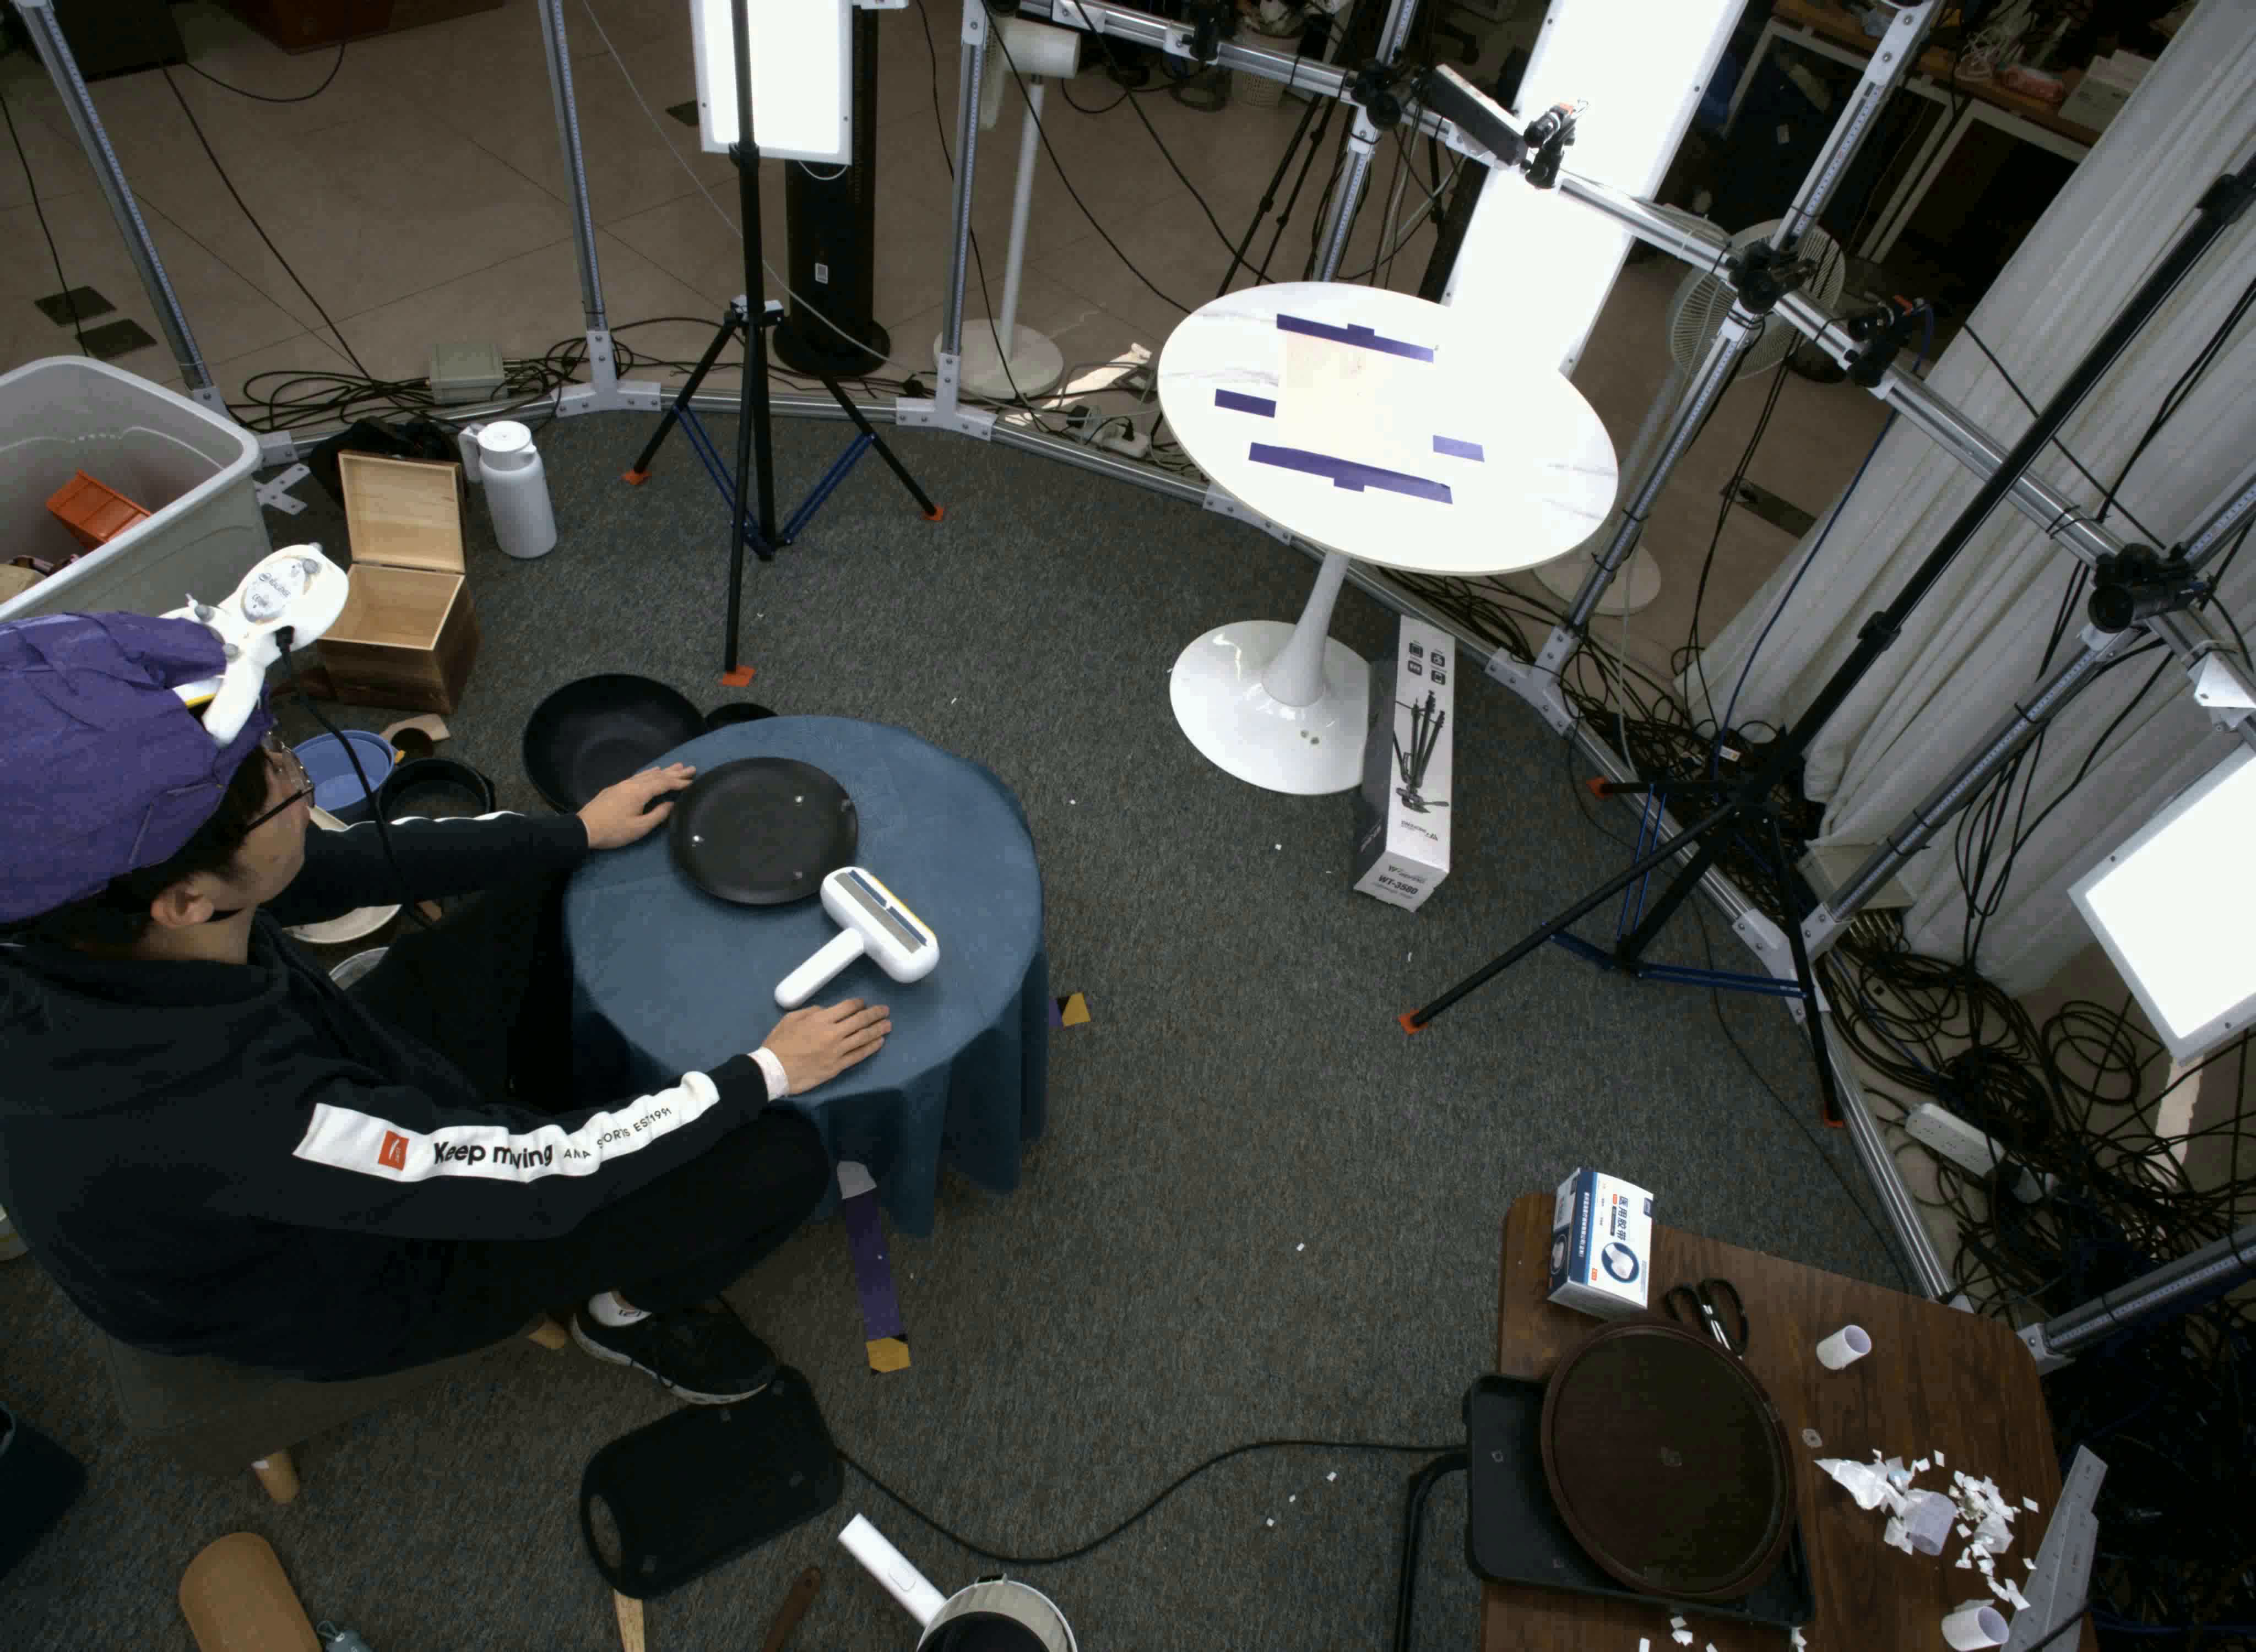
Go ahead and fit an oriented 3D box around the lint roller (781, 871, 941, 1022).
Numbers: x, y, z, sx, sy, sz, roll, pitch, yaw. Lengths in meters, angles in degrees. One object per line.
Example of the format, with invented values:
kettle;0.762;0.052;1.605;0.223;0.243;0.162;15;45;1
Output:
lint roller;-0.350;0.164;1.608;0.192;0.076;0.187;-35;61;-17

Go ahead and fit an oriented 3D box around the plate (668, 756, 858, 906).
plate;-0.477;0.007;1.696;0.244;0.024;0.240;8;53;-9
